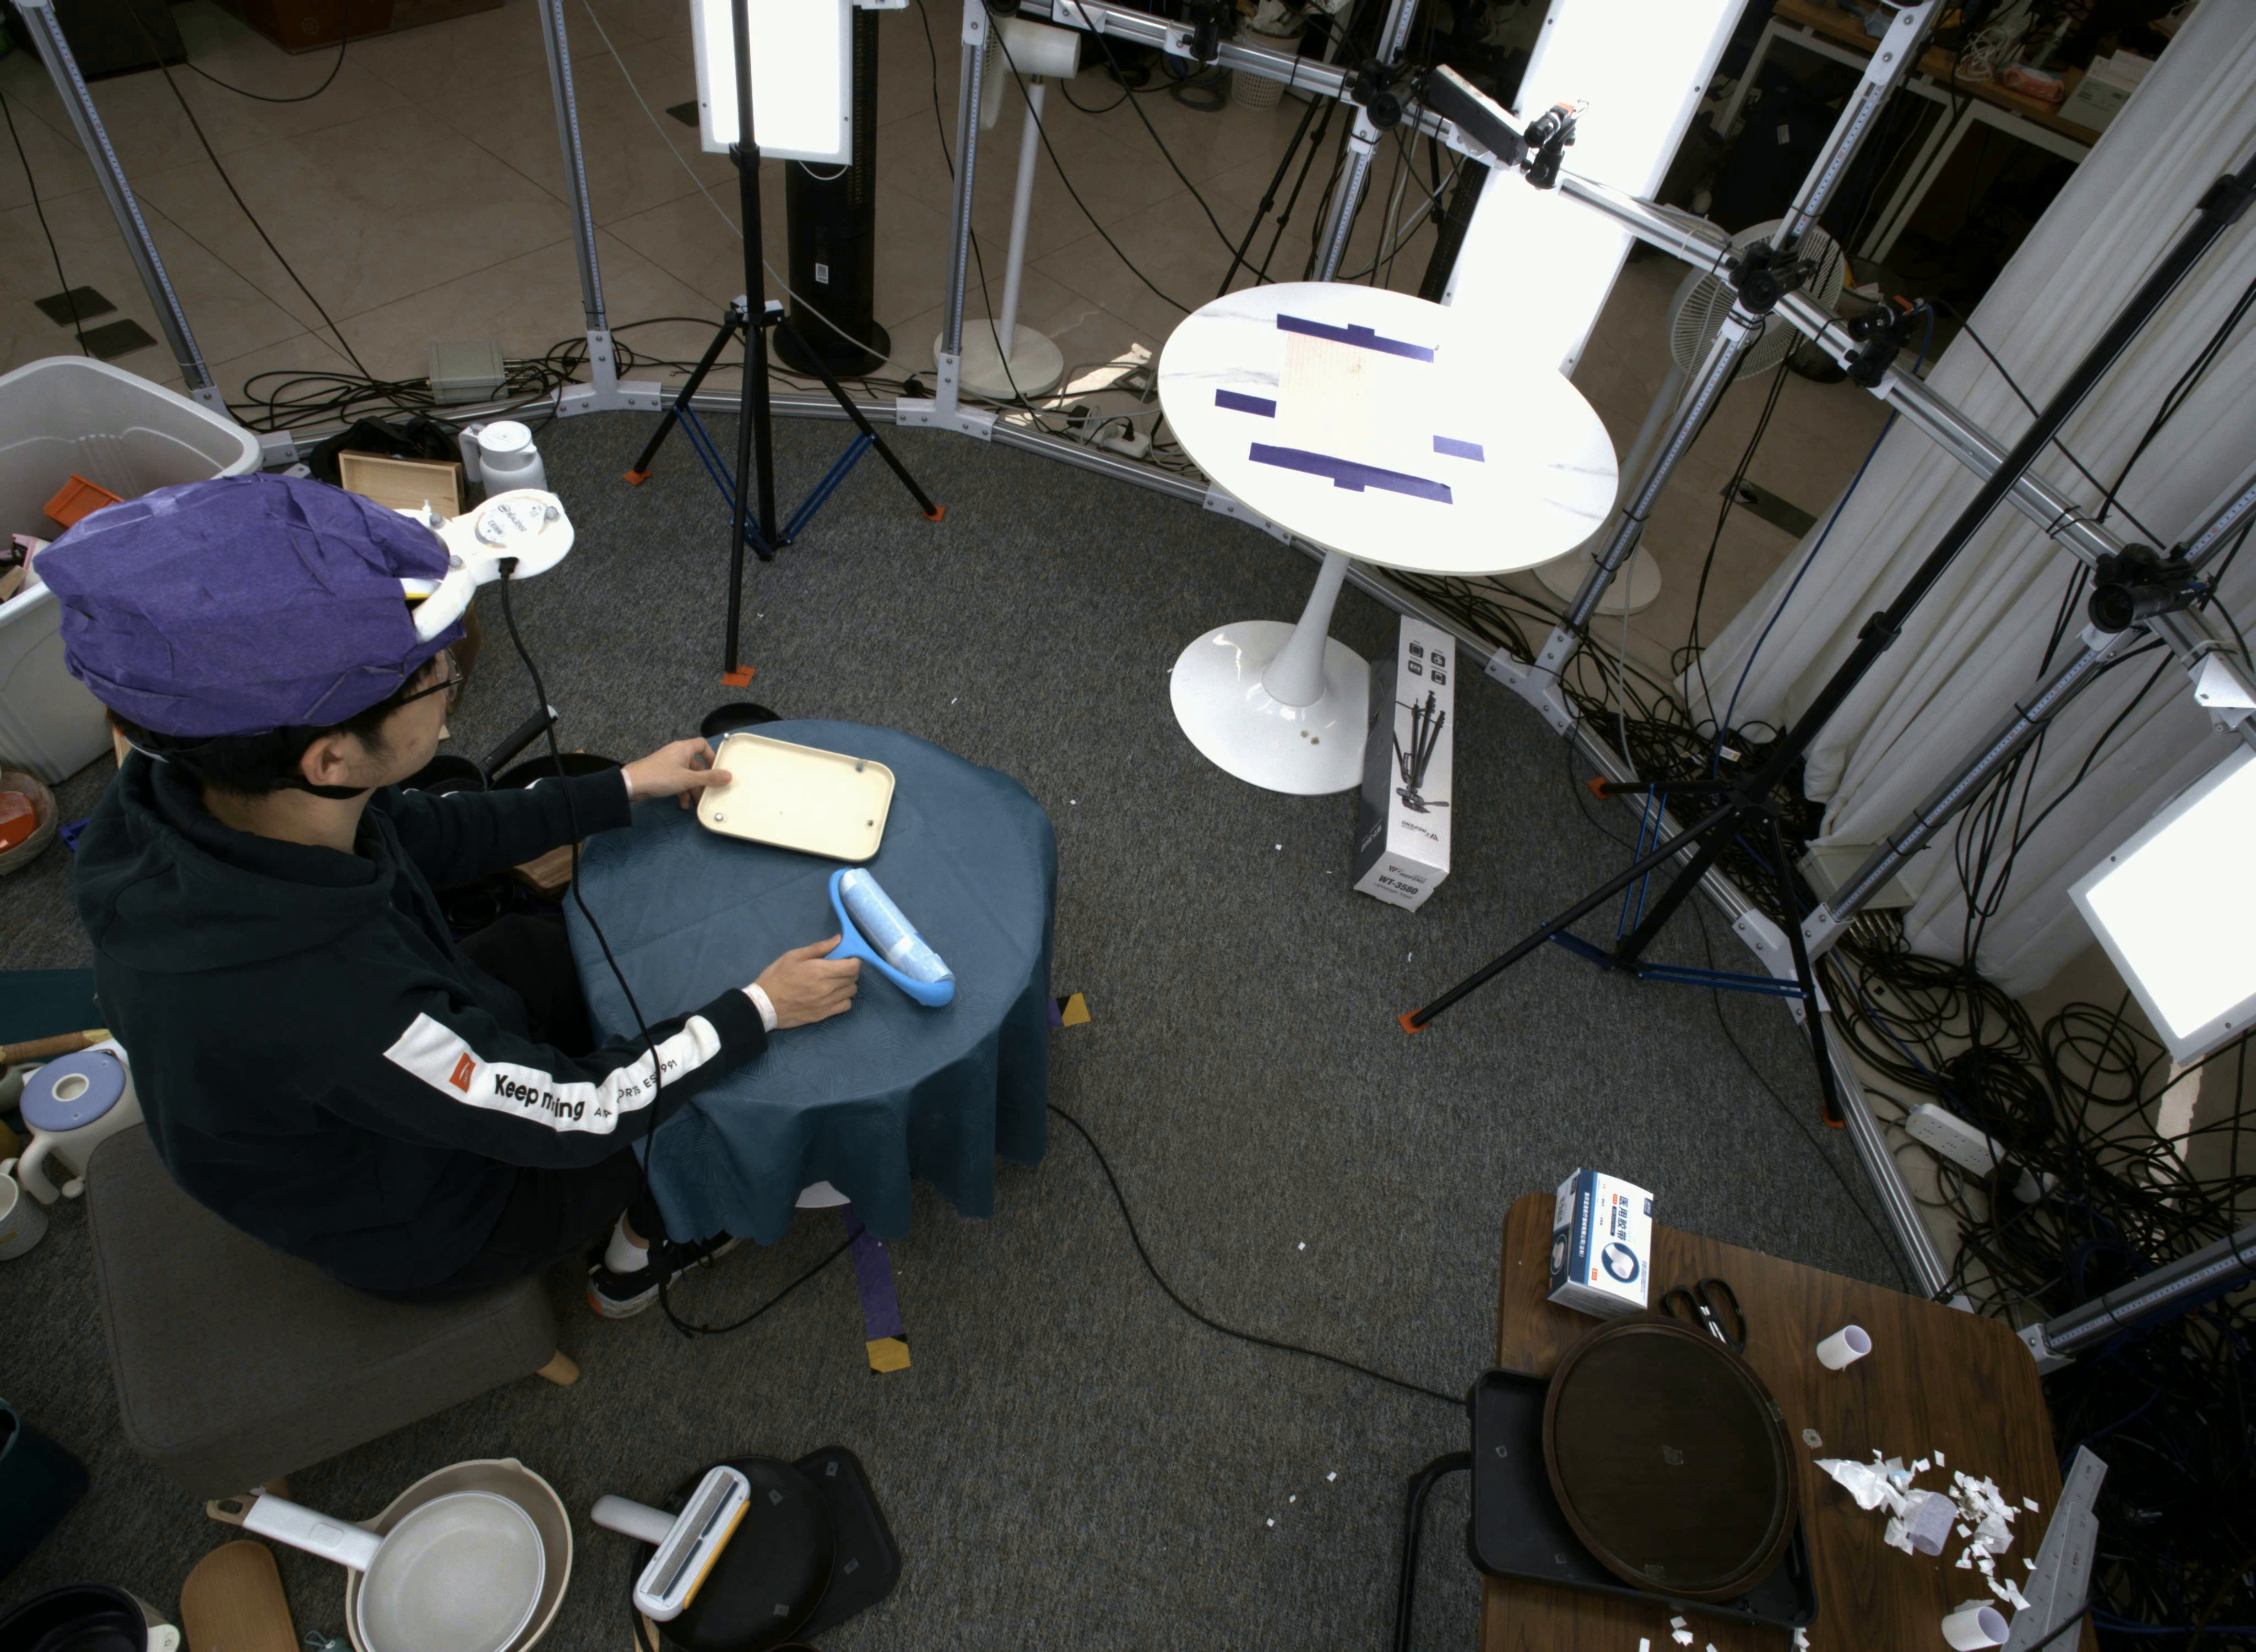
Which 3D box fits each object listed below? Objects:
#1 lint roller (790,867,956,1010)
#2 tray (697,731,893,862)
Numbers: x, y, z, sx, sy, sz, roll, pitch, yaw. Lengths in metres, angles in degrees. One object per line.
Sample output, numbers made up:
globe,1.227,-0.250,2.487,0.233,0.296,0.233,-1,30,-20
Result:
lint roller,-0.336,0.160,1.598,0.181,0.069,0.224,-34,70,-33
tray,-0.442,-0.040,1.732,0.240,0.018,0.168,13,53,-11
